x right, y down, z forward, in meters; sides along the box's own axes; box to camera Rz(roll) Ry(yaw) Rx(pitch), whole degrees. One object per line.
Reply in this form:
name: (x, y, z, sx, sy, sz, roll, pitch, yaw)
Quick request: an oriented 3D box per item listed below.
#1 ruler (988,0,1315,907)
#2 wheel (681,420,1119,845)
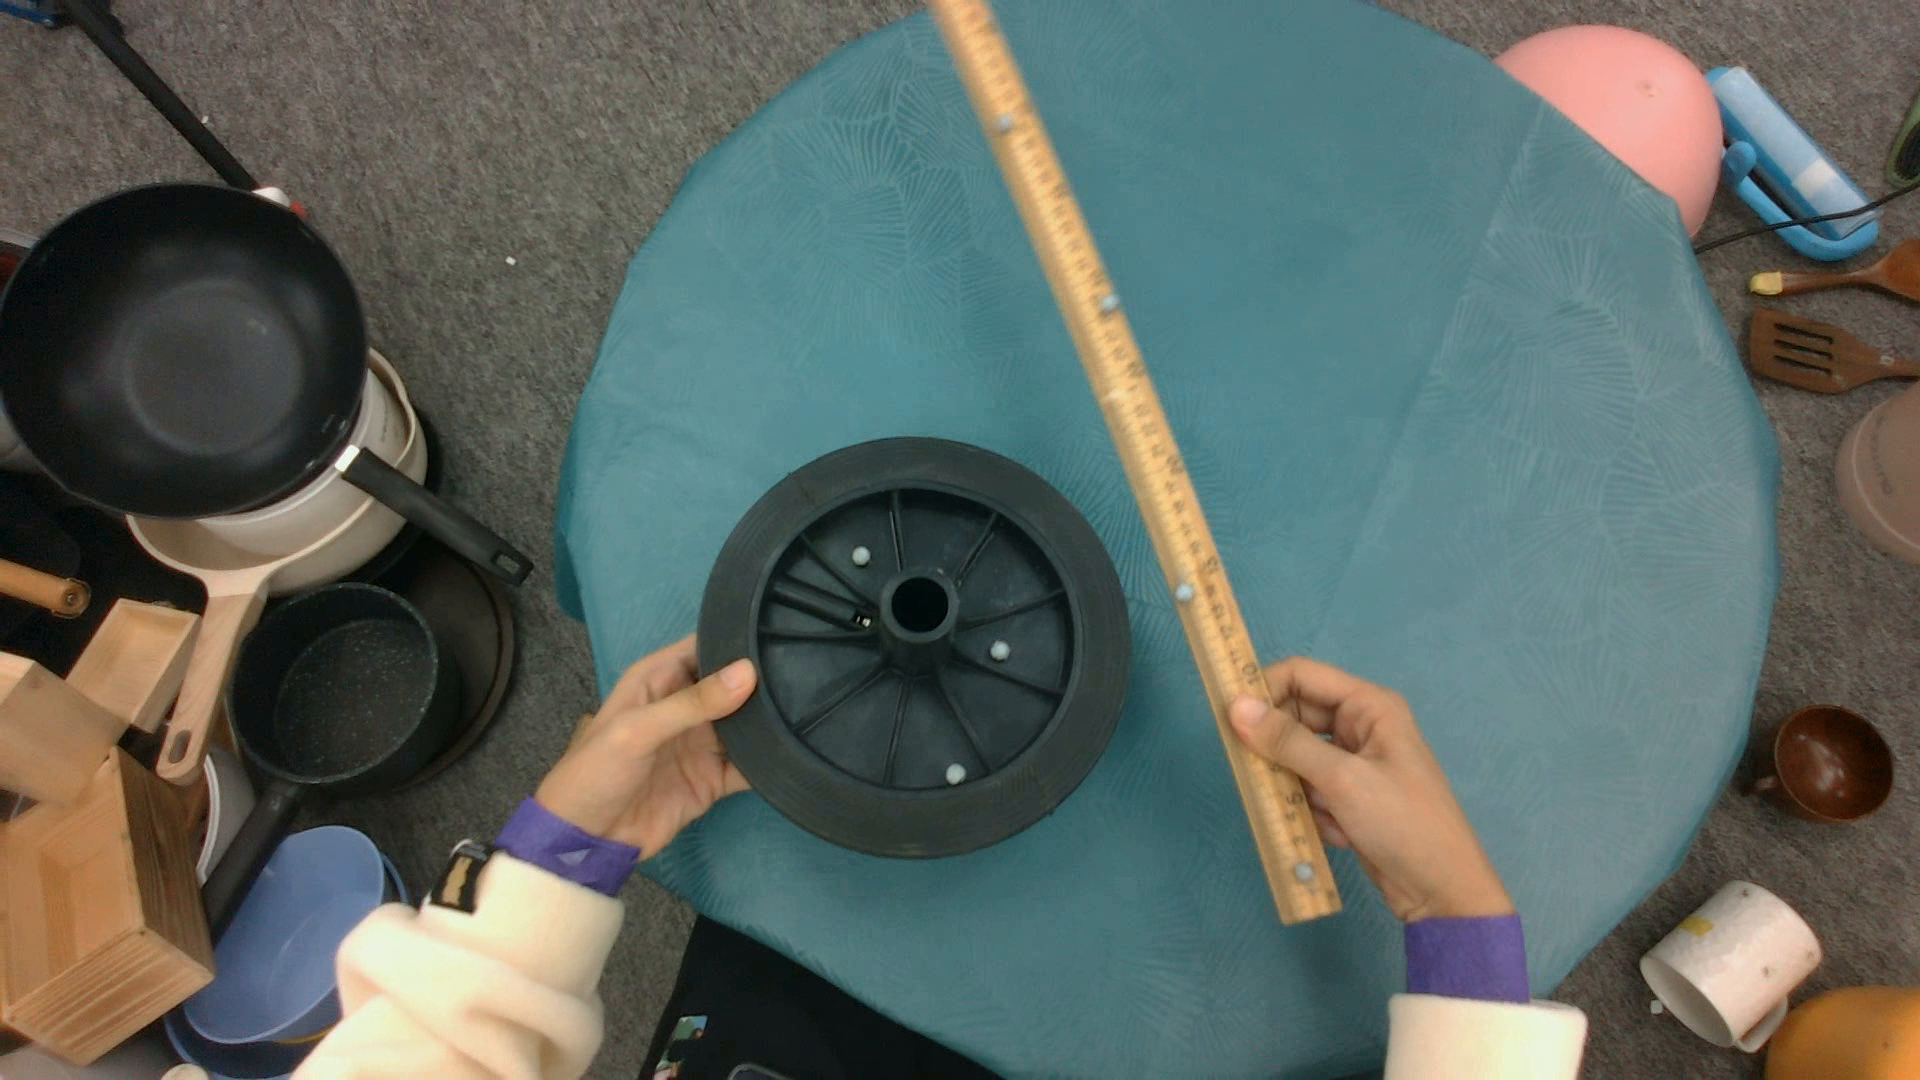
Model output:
ruler: (0.073, -0.088, 0.624, 0.027, 0.006, 0.501, -13, 72, -5)
wheel: (-0.024, 0.031, 0.581, 0.190, 0.079, 0.188, -1, 72, -4)
